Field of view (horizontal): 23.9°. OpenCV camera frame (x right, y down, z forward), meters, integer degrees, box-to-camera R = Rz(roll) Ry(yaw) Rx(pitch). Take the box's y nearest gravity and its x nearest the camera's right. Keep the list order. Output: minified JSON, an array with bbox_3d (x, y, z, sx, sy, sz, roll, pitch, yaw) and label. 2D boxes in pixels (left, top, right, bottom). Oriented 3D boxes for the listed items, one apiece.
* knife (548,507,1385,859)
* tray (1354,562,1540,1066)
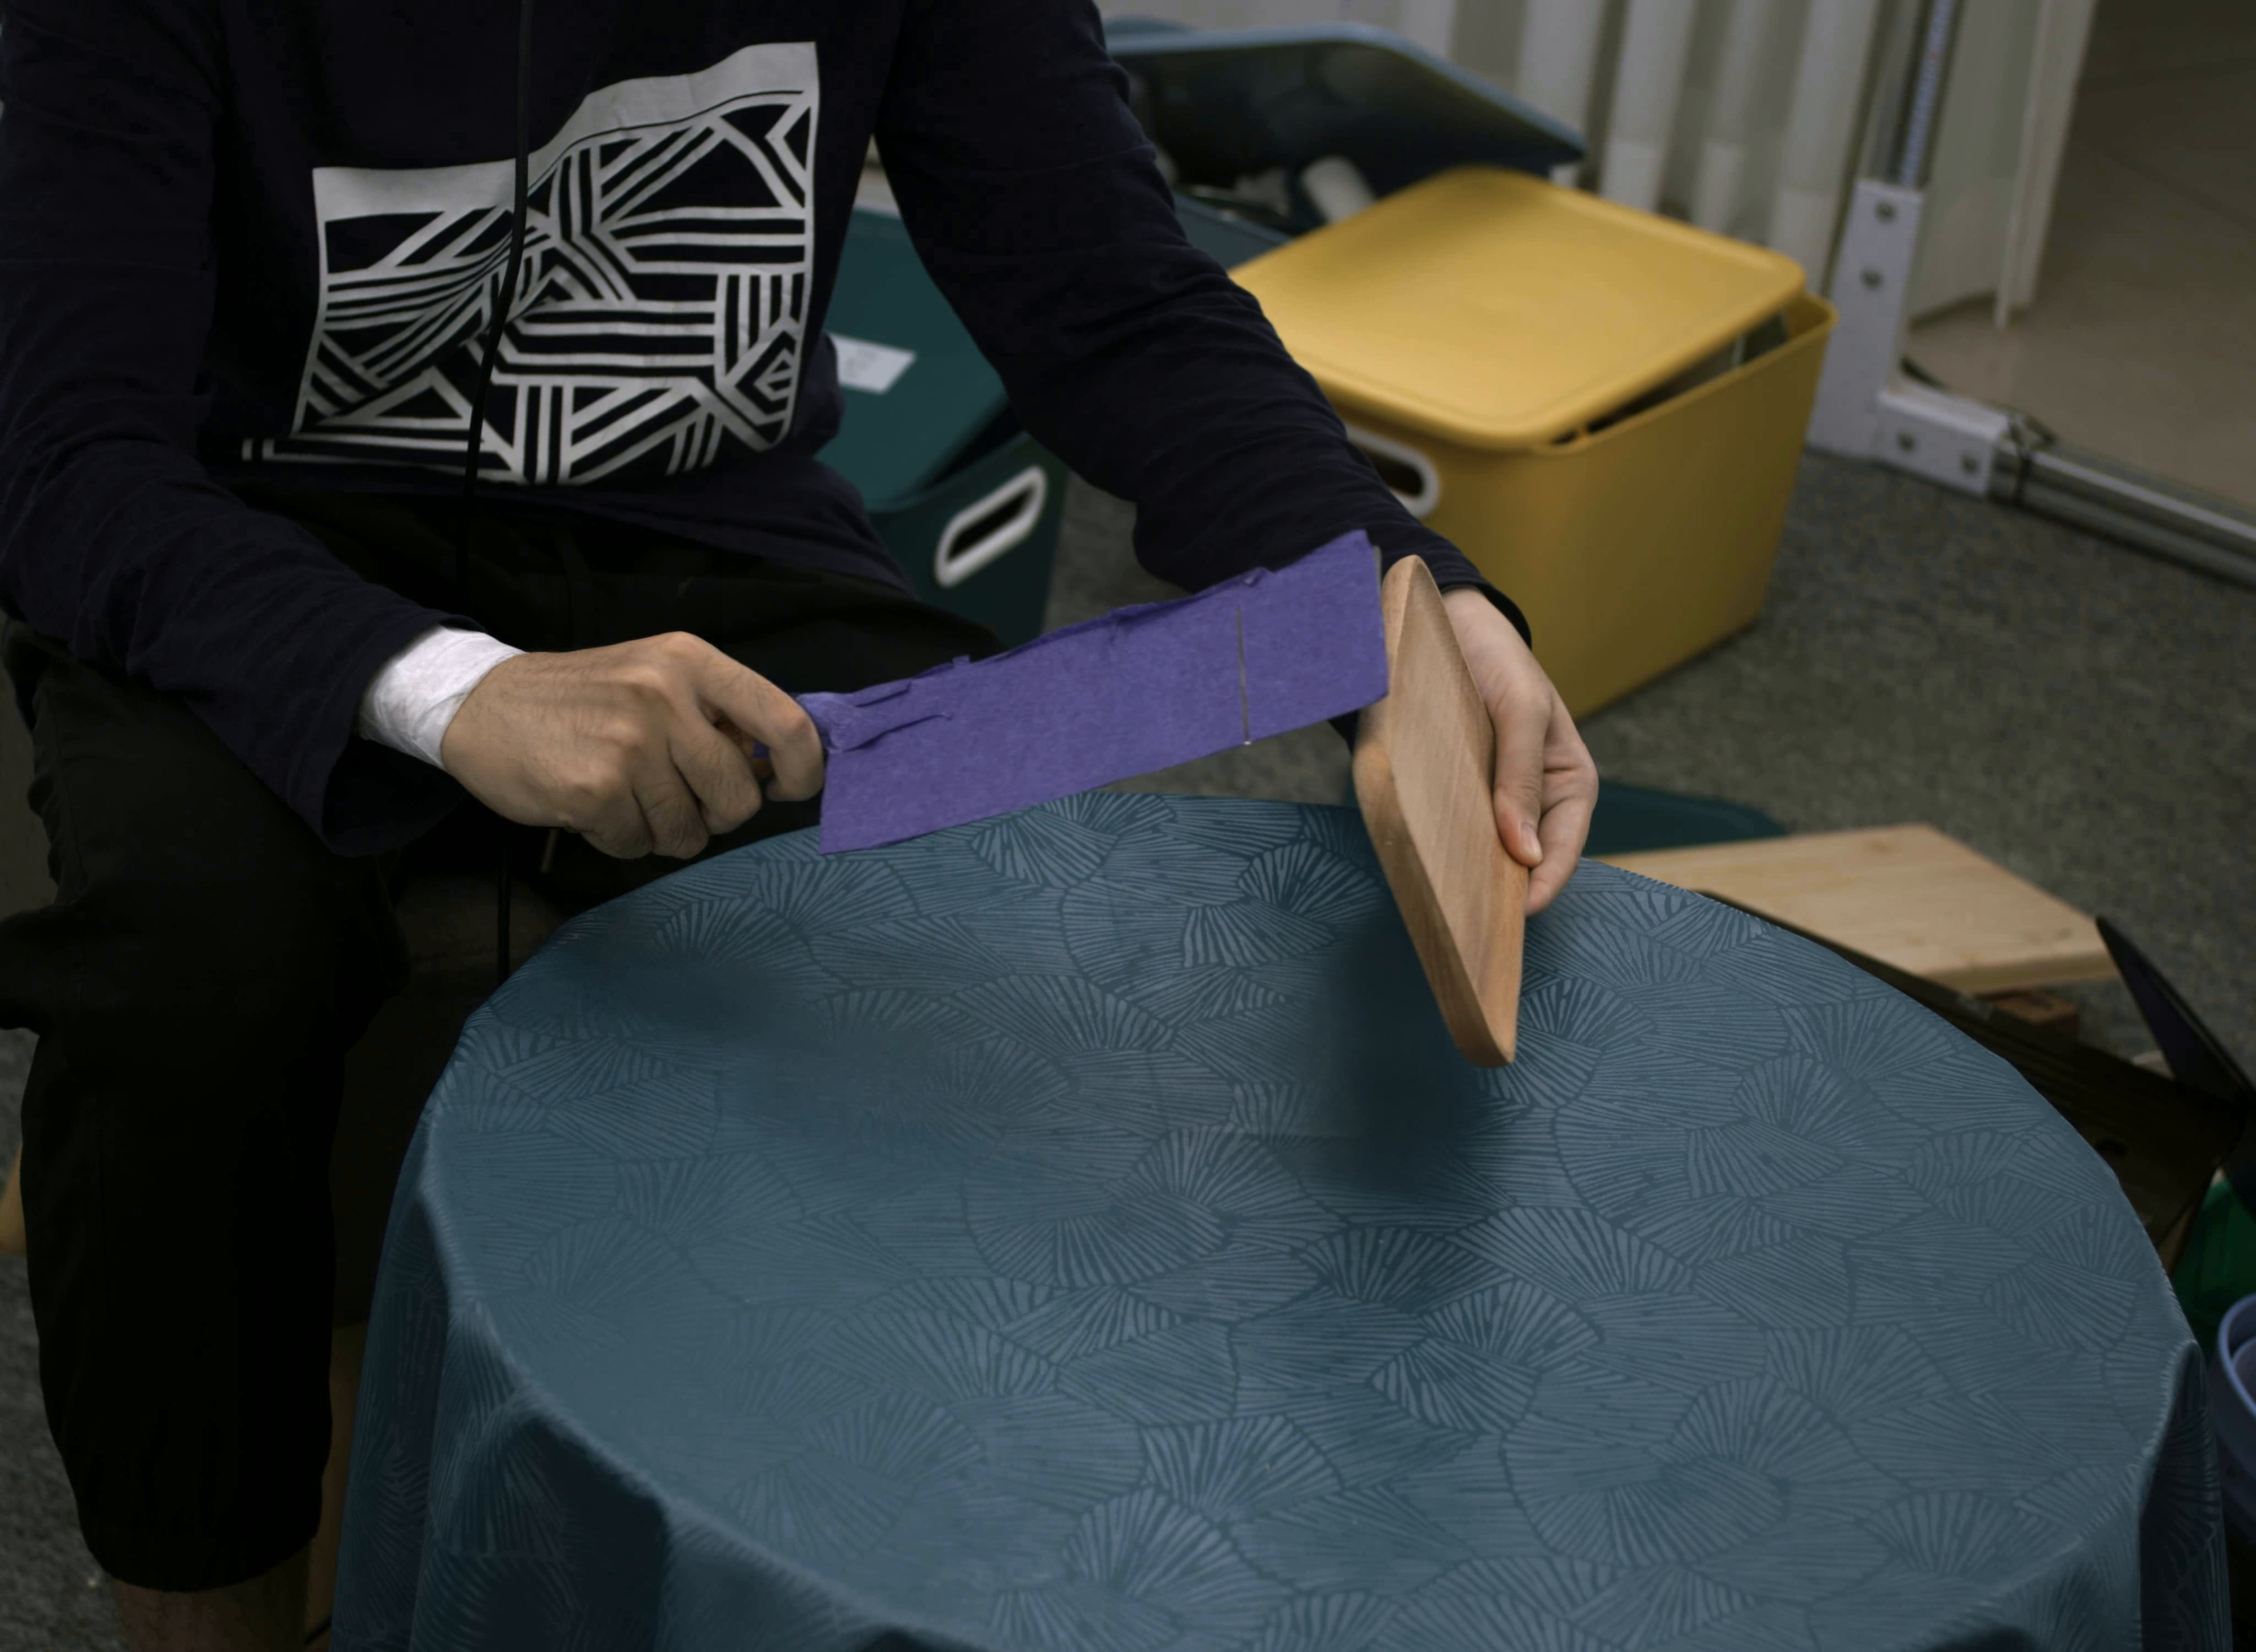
[{"bbox_3d":[-0.060,-0.034,1.843,0.315,0.032,0.104,-19,35,16],"label":"knife"},{"bbox_3d":[0.114,-0.007,1.890,0.023,0.130,0.251,-17,15,11],"label":"tray"}]
